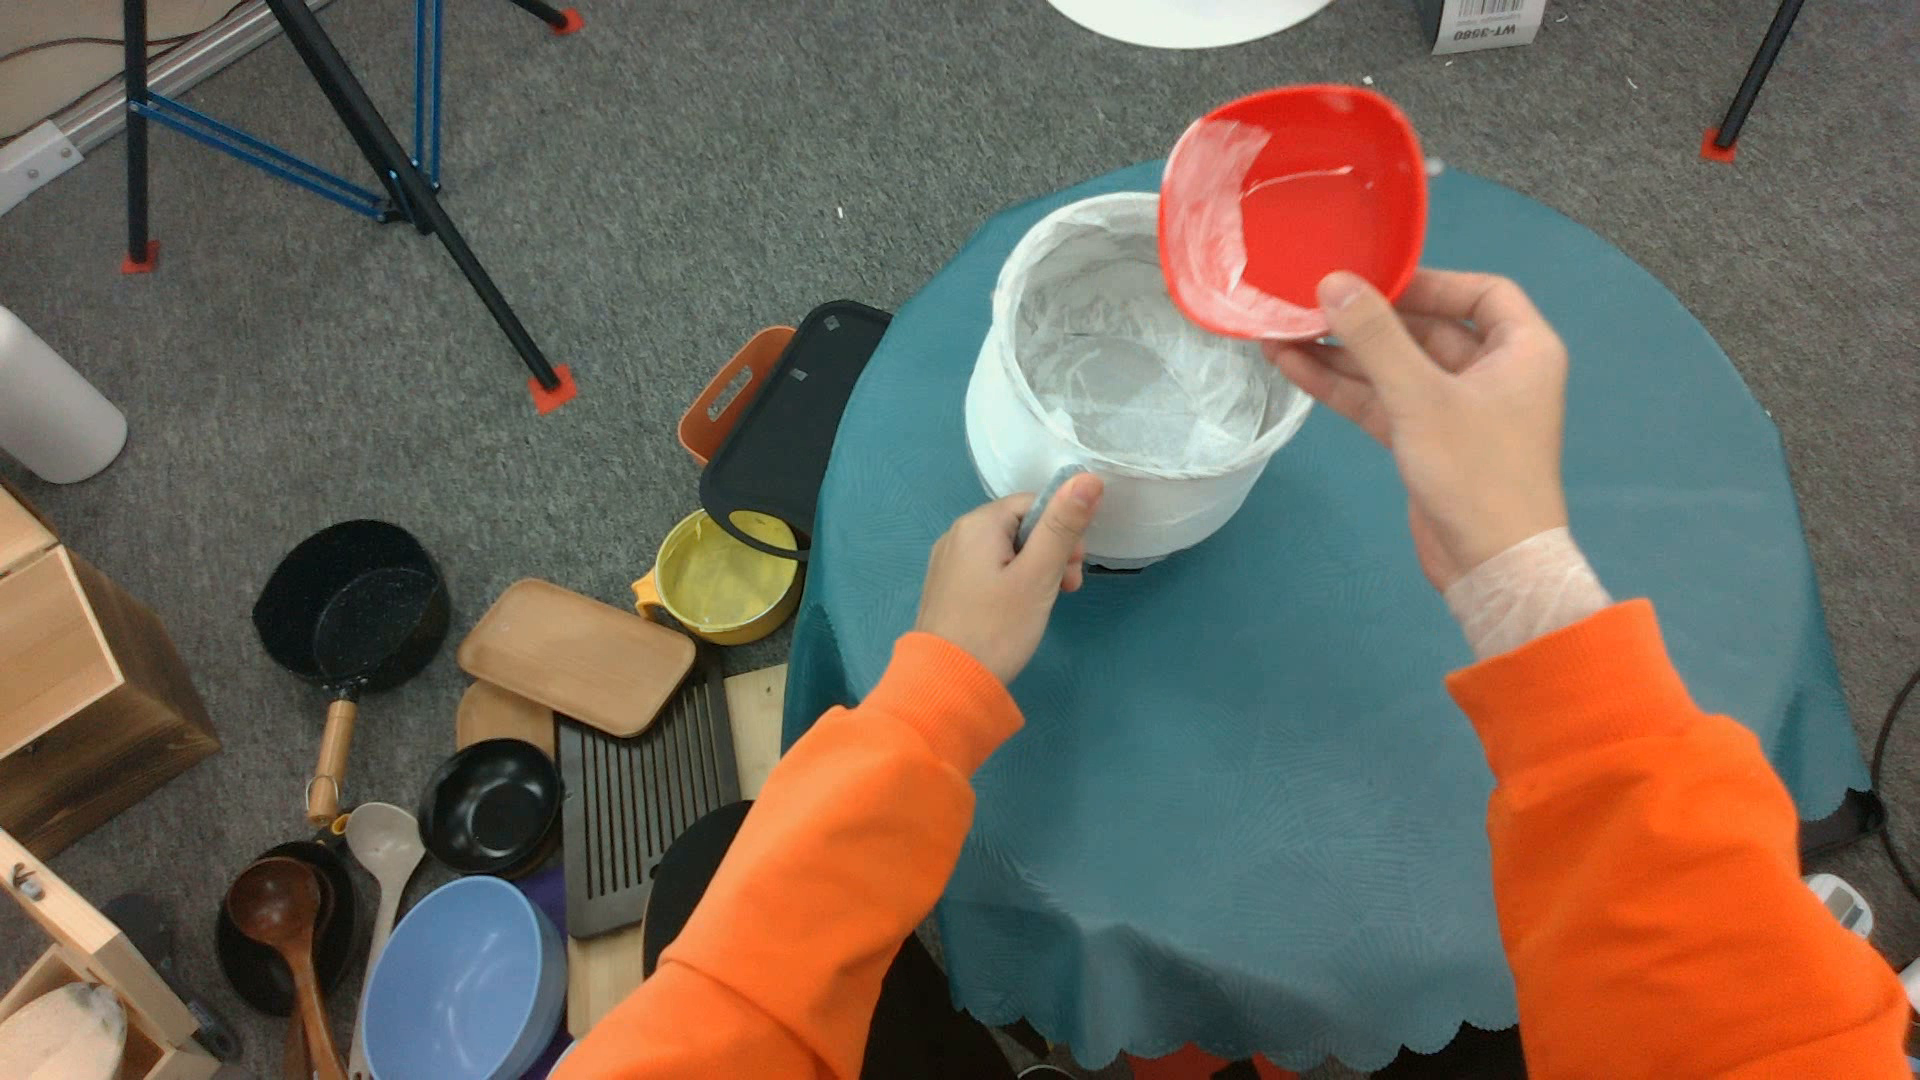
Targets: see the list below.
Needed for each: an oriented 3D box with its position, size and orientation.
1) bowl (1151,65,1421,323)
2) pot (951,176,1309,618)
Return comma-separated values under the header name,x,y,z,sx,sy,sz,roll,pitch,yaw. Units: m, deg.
name,x,y,z,sx,sy,sz,roll,pitch,yaw
bowl,0.142,-0.141,0.593,0.118,0.051,0.119,-3,79,20
pot,0.076,-0.070,0.761,0.179,0.136,0.234,26,64,4
